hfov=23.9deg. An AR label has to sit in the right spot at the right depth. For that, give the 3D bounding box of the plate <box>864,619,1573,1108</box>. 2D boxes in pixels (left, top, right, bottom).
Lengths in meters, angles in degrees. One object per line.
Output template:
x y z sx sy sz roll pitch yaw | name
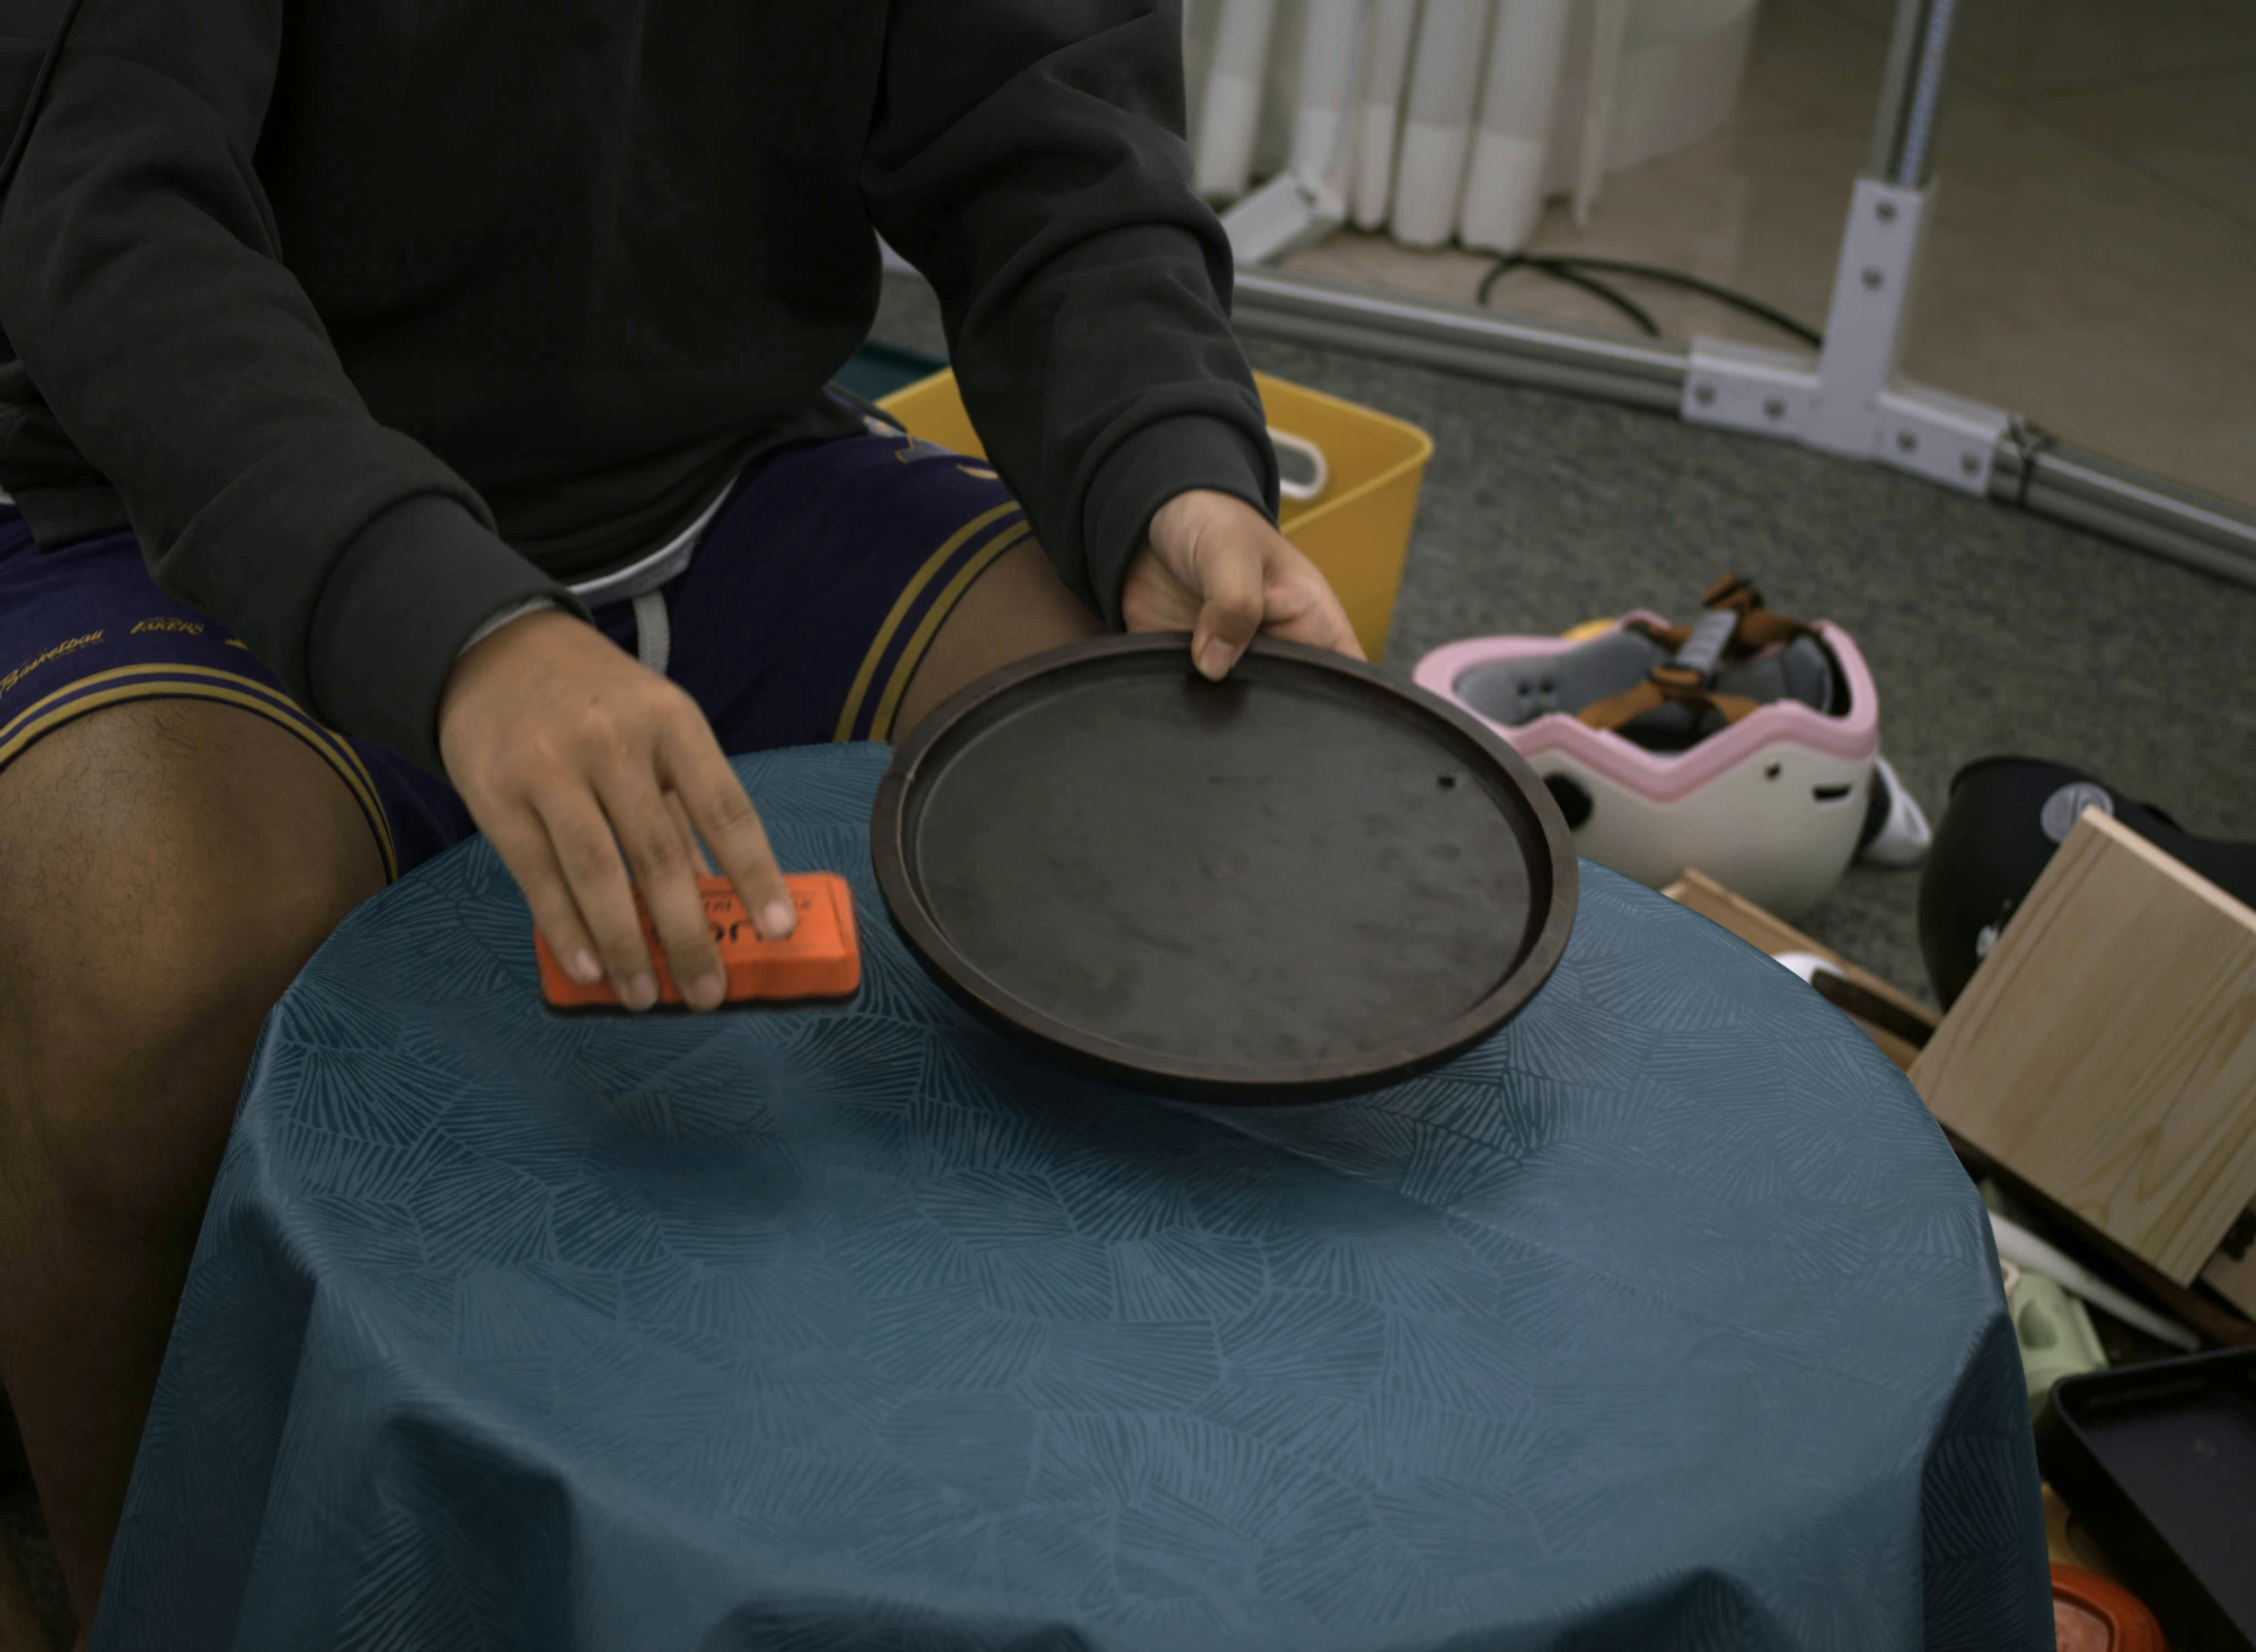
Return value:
0.032 0.012 1.890 0.254 0.029 0.257 2 40 -2 | plate

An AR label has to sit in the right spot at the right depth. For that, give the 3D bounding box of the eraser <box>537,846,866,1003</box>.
-0.143 0.033 1.782 0.107 0.023 0.059 -3 32 -8 | eraser
